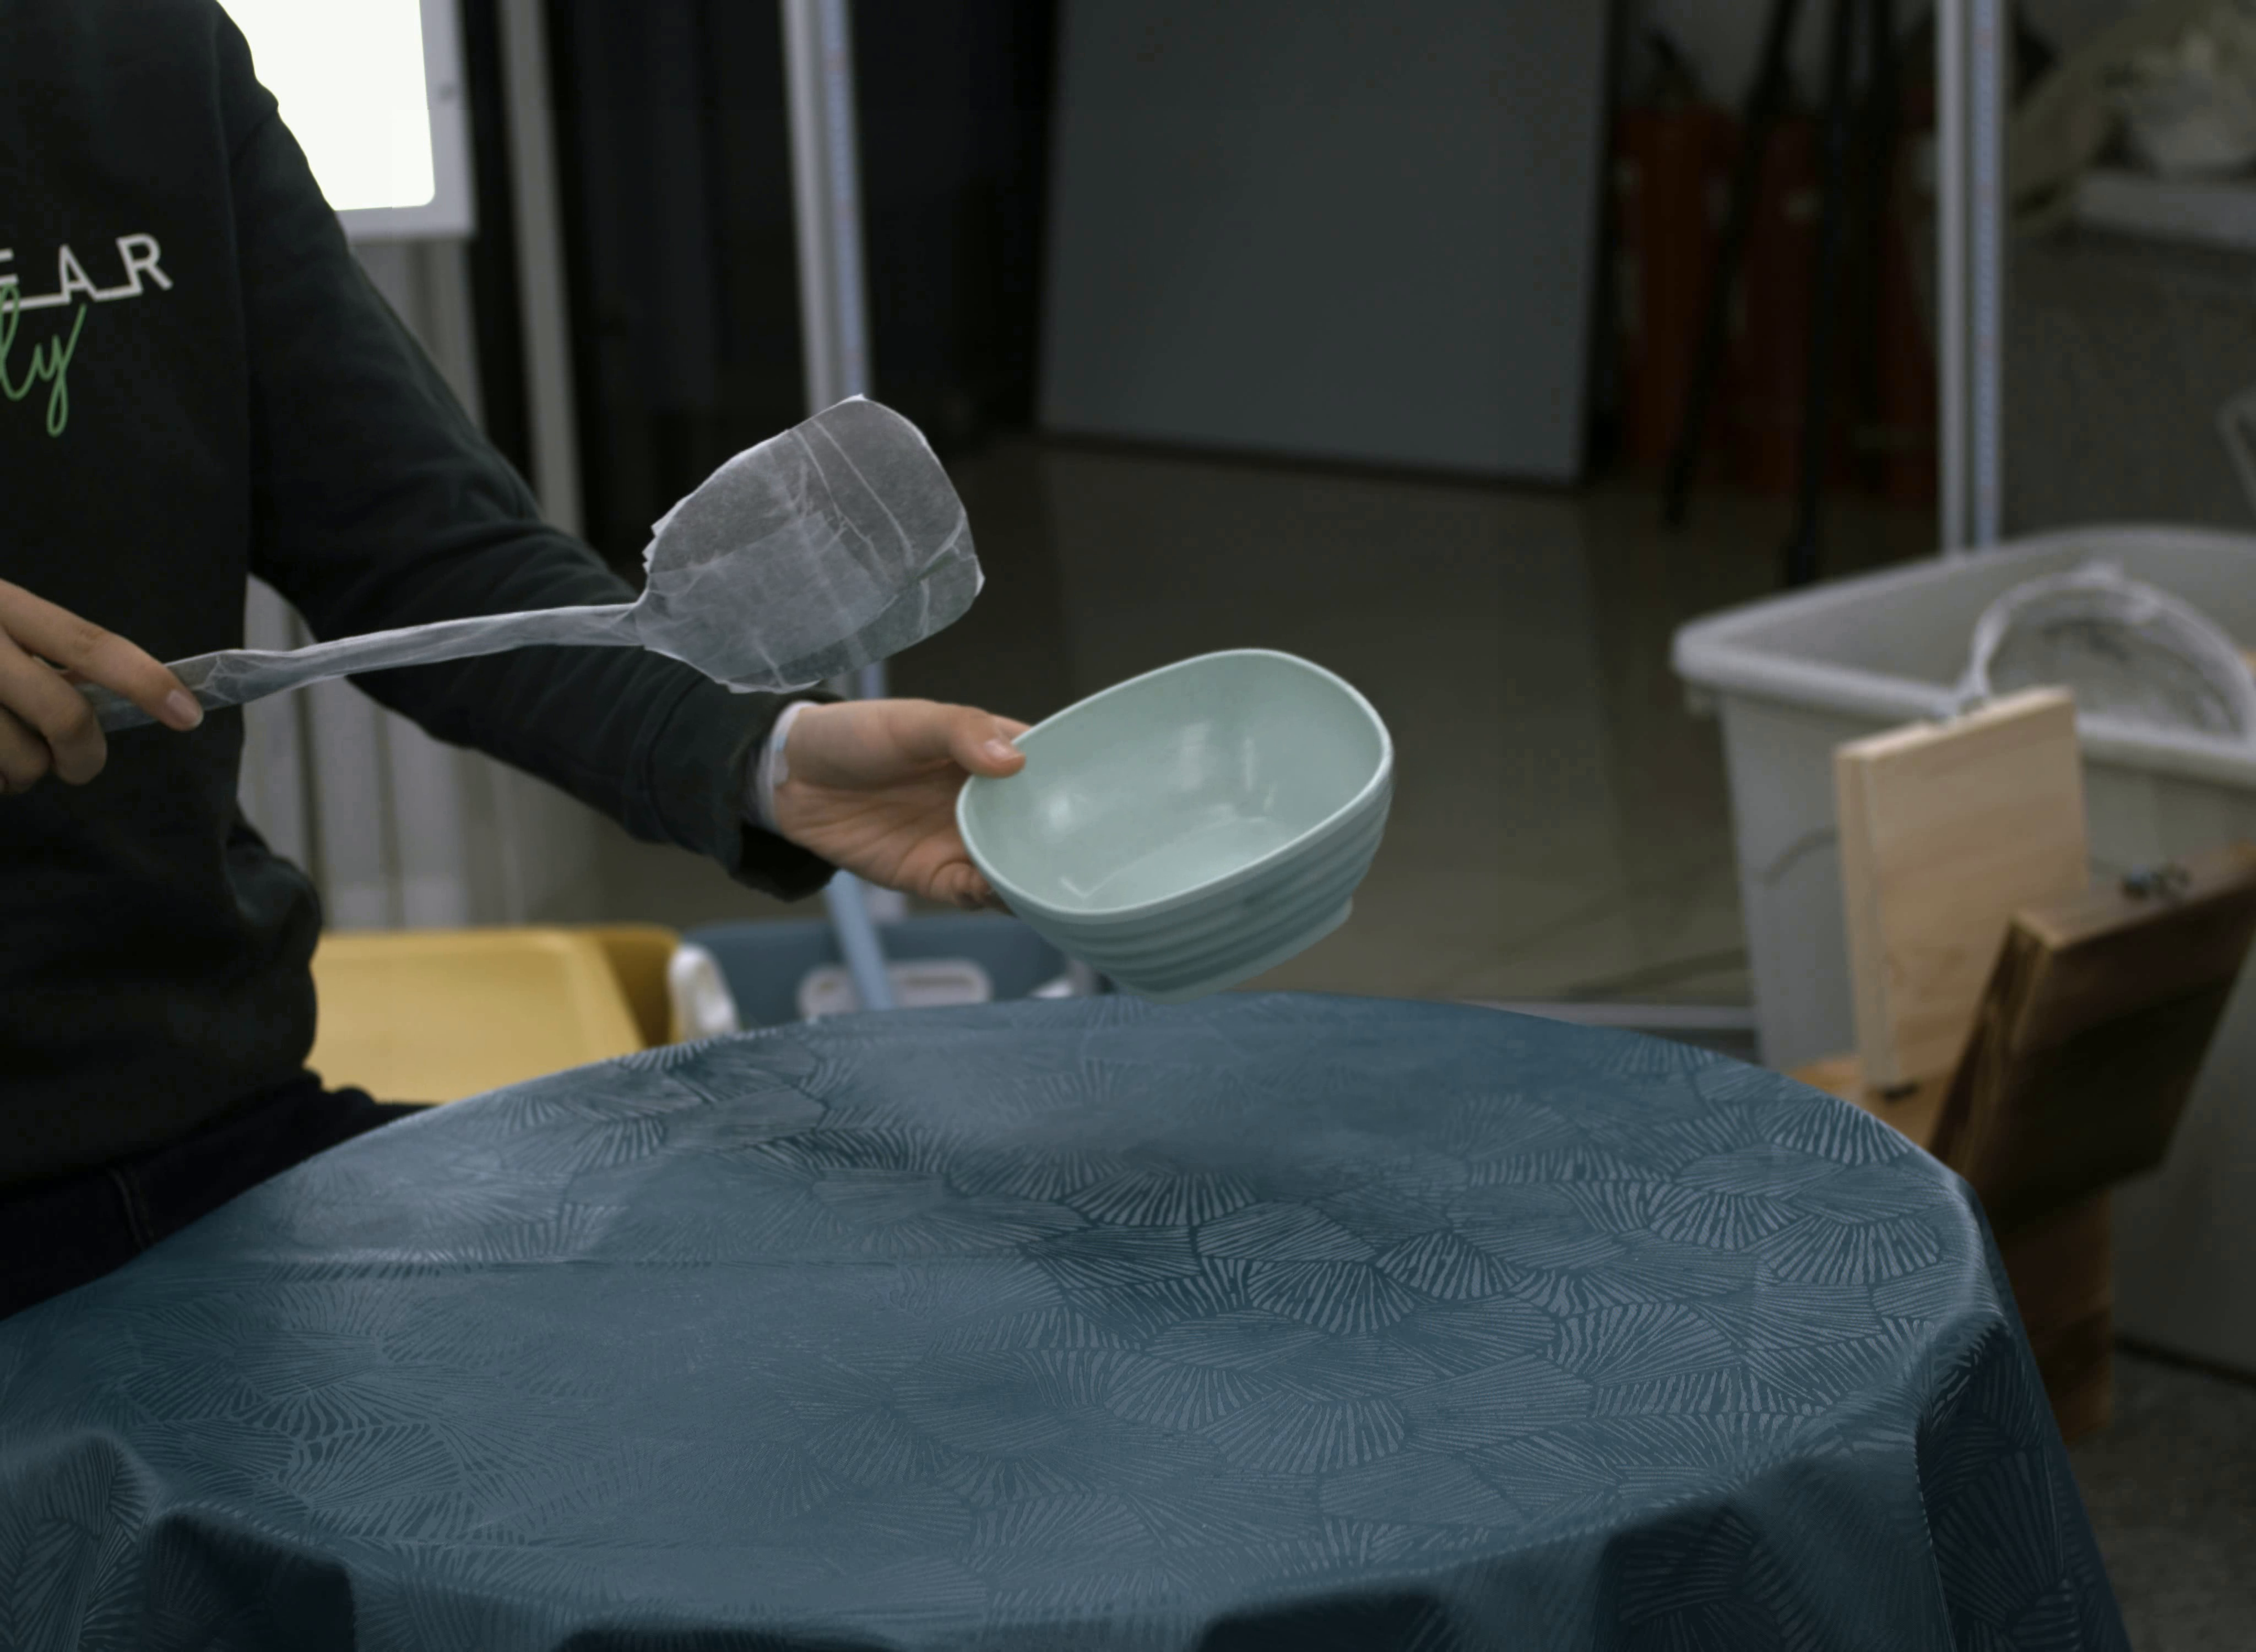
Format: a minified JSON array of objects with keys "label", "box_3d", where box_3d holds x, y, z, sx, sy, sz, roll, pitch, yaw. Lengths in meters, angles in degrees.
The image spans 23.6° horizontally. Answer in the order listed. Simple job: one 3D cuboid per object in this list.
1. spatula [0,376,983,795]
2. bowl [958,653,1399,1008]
[{"label":"spatula","box_3d":[-0.221,-0.059,1.715,0.364,0.098,0.045,-12,44,19]},{"label":"bowl","box_3d":[0.021,0.008,1.755,0.150,0.059,0.152,-12,30,6]}]
